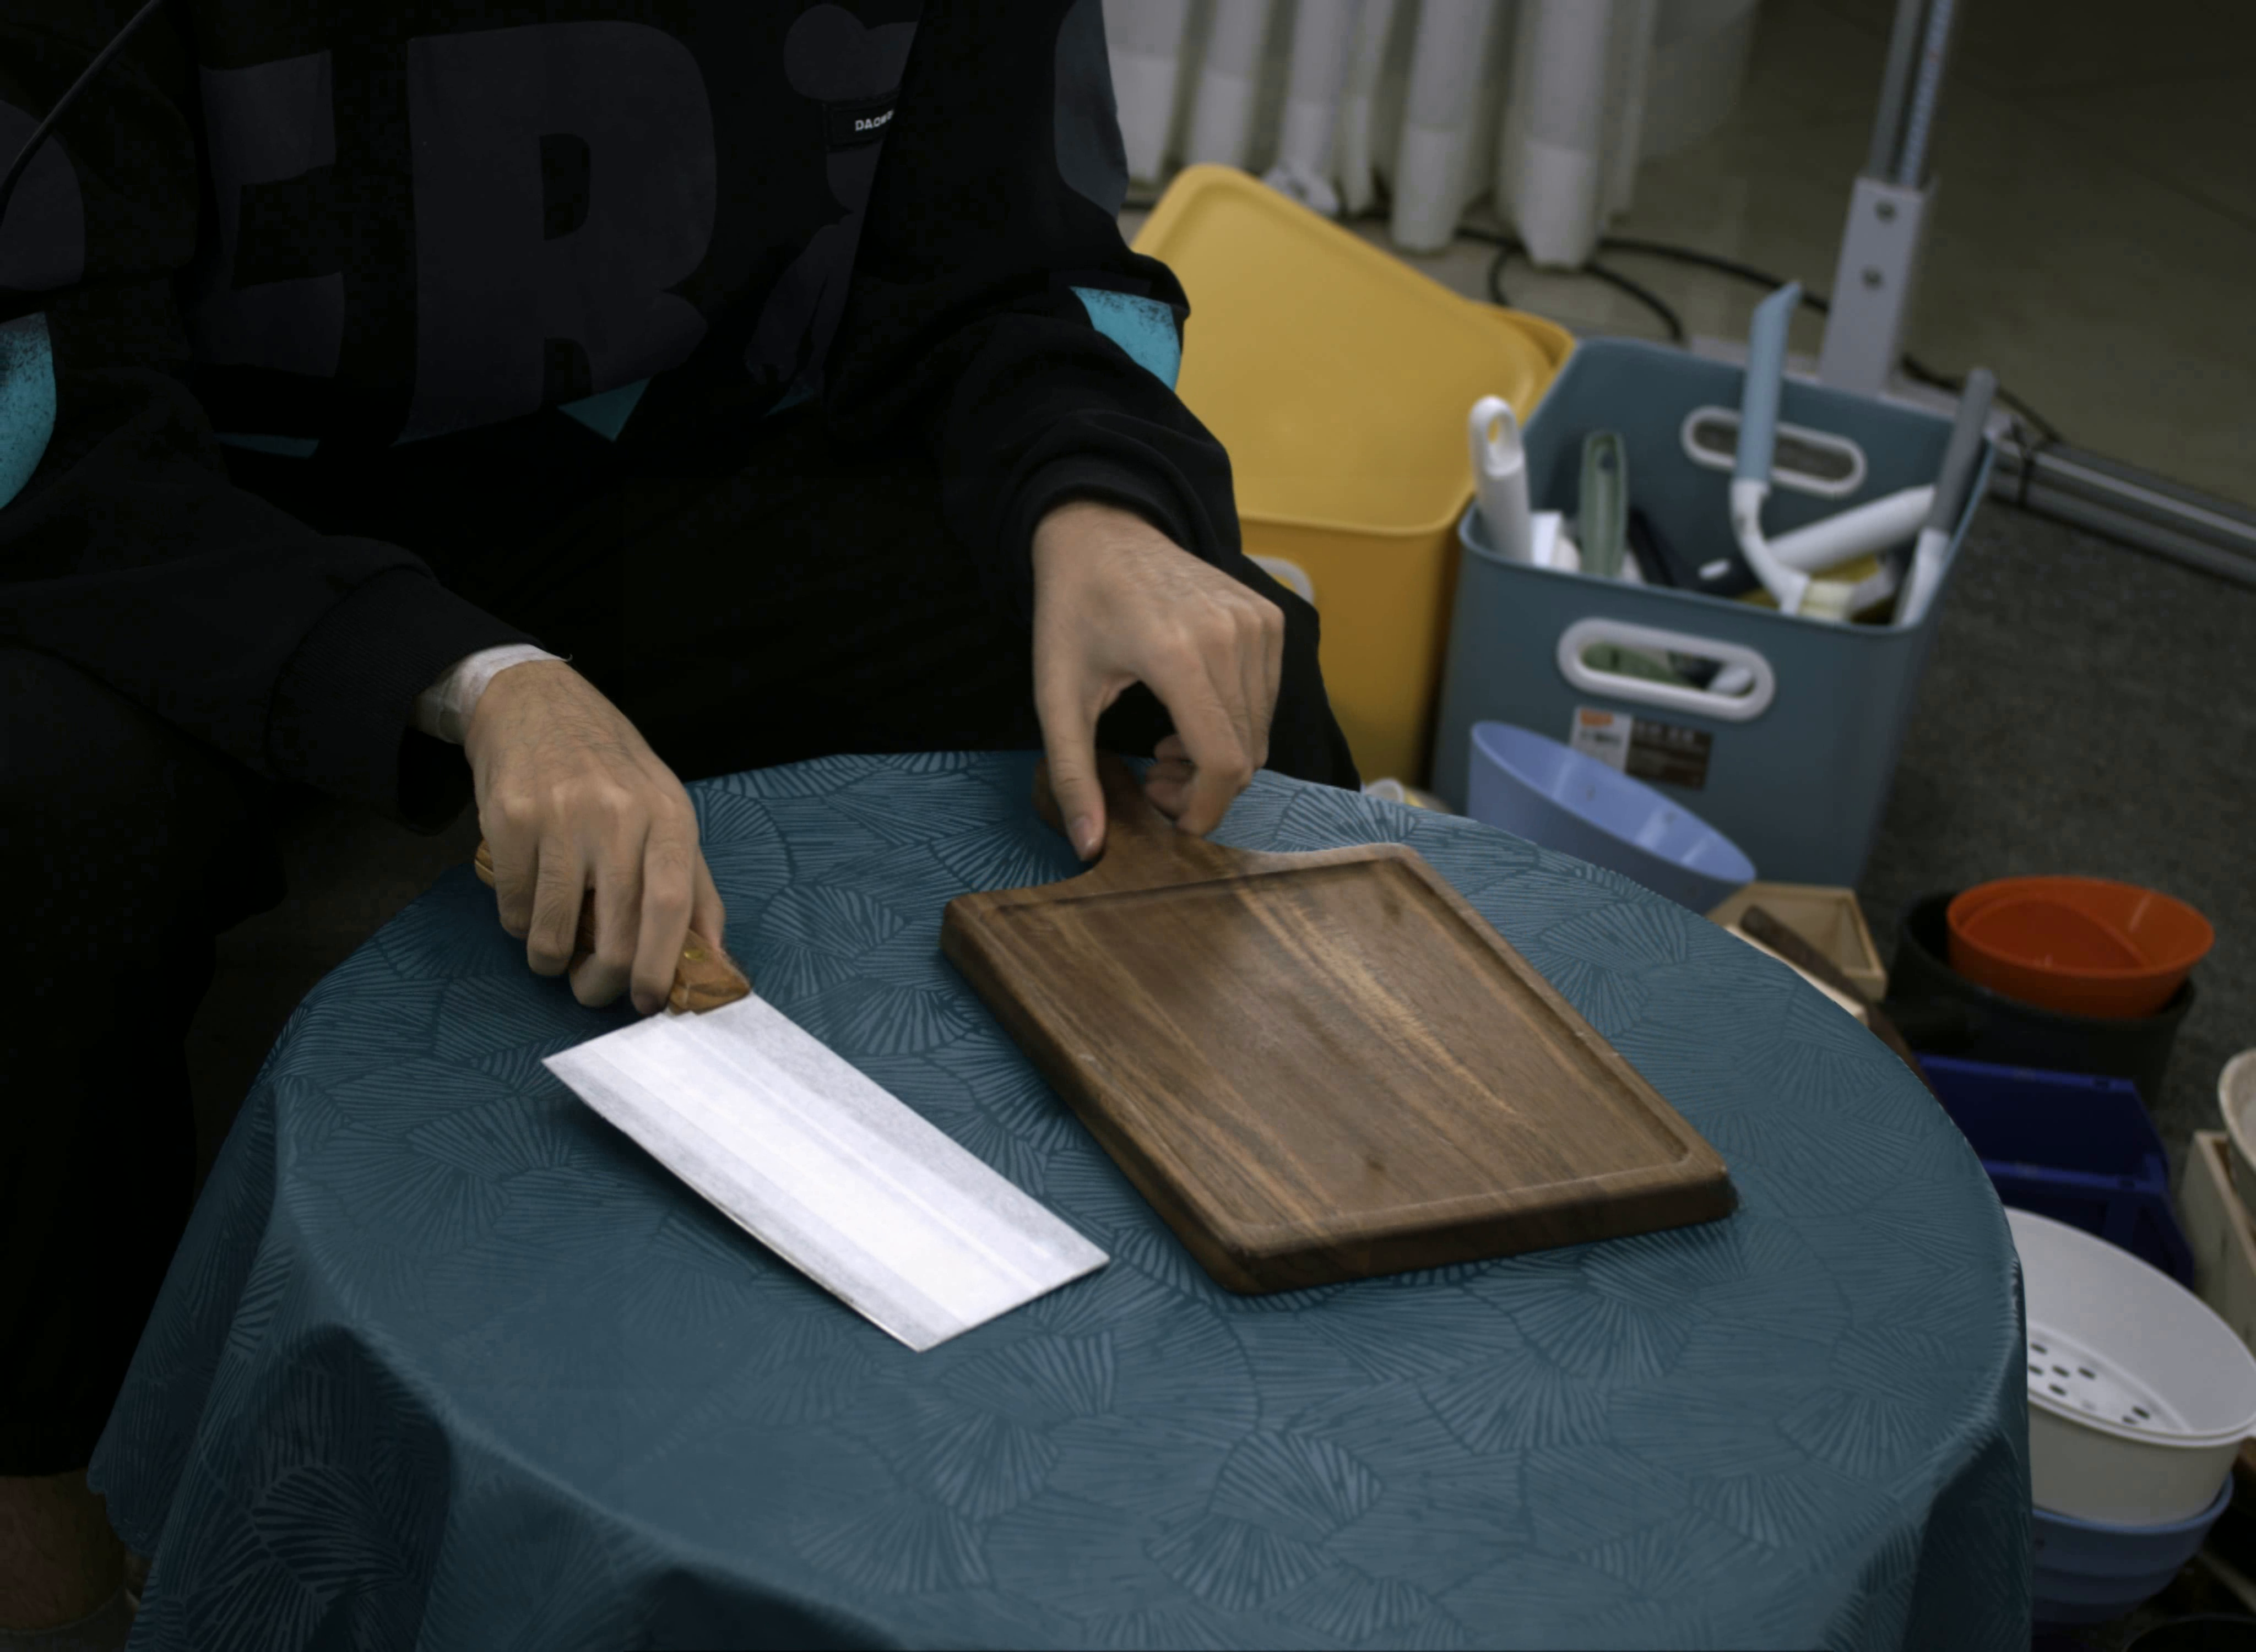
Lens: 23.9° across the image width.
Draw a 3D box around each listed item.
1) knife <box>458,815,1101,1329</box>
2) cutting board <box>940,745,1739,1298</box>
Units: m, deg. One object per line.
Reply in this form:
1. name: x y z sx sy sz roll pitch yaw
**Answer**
1. knife: -0.141 0.083 1.812 0.092 0.021 0.308 -22 44 -41
2. cutting board: 0.050 0.058 1.918 0.200 0.023 0.355 -7 30 -25
